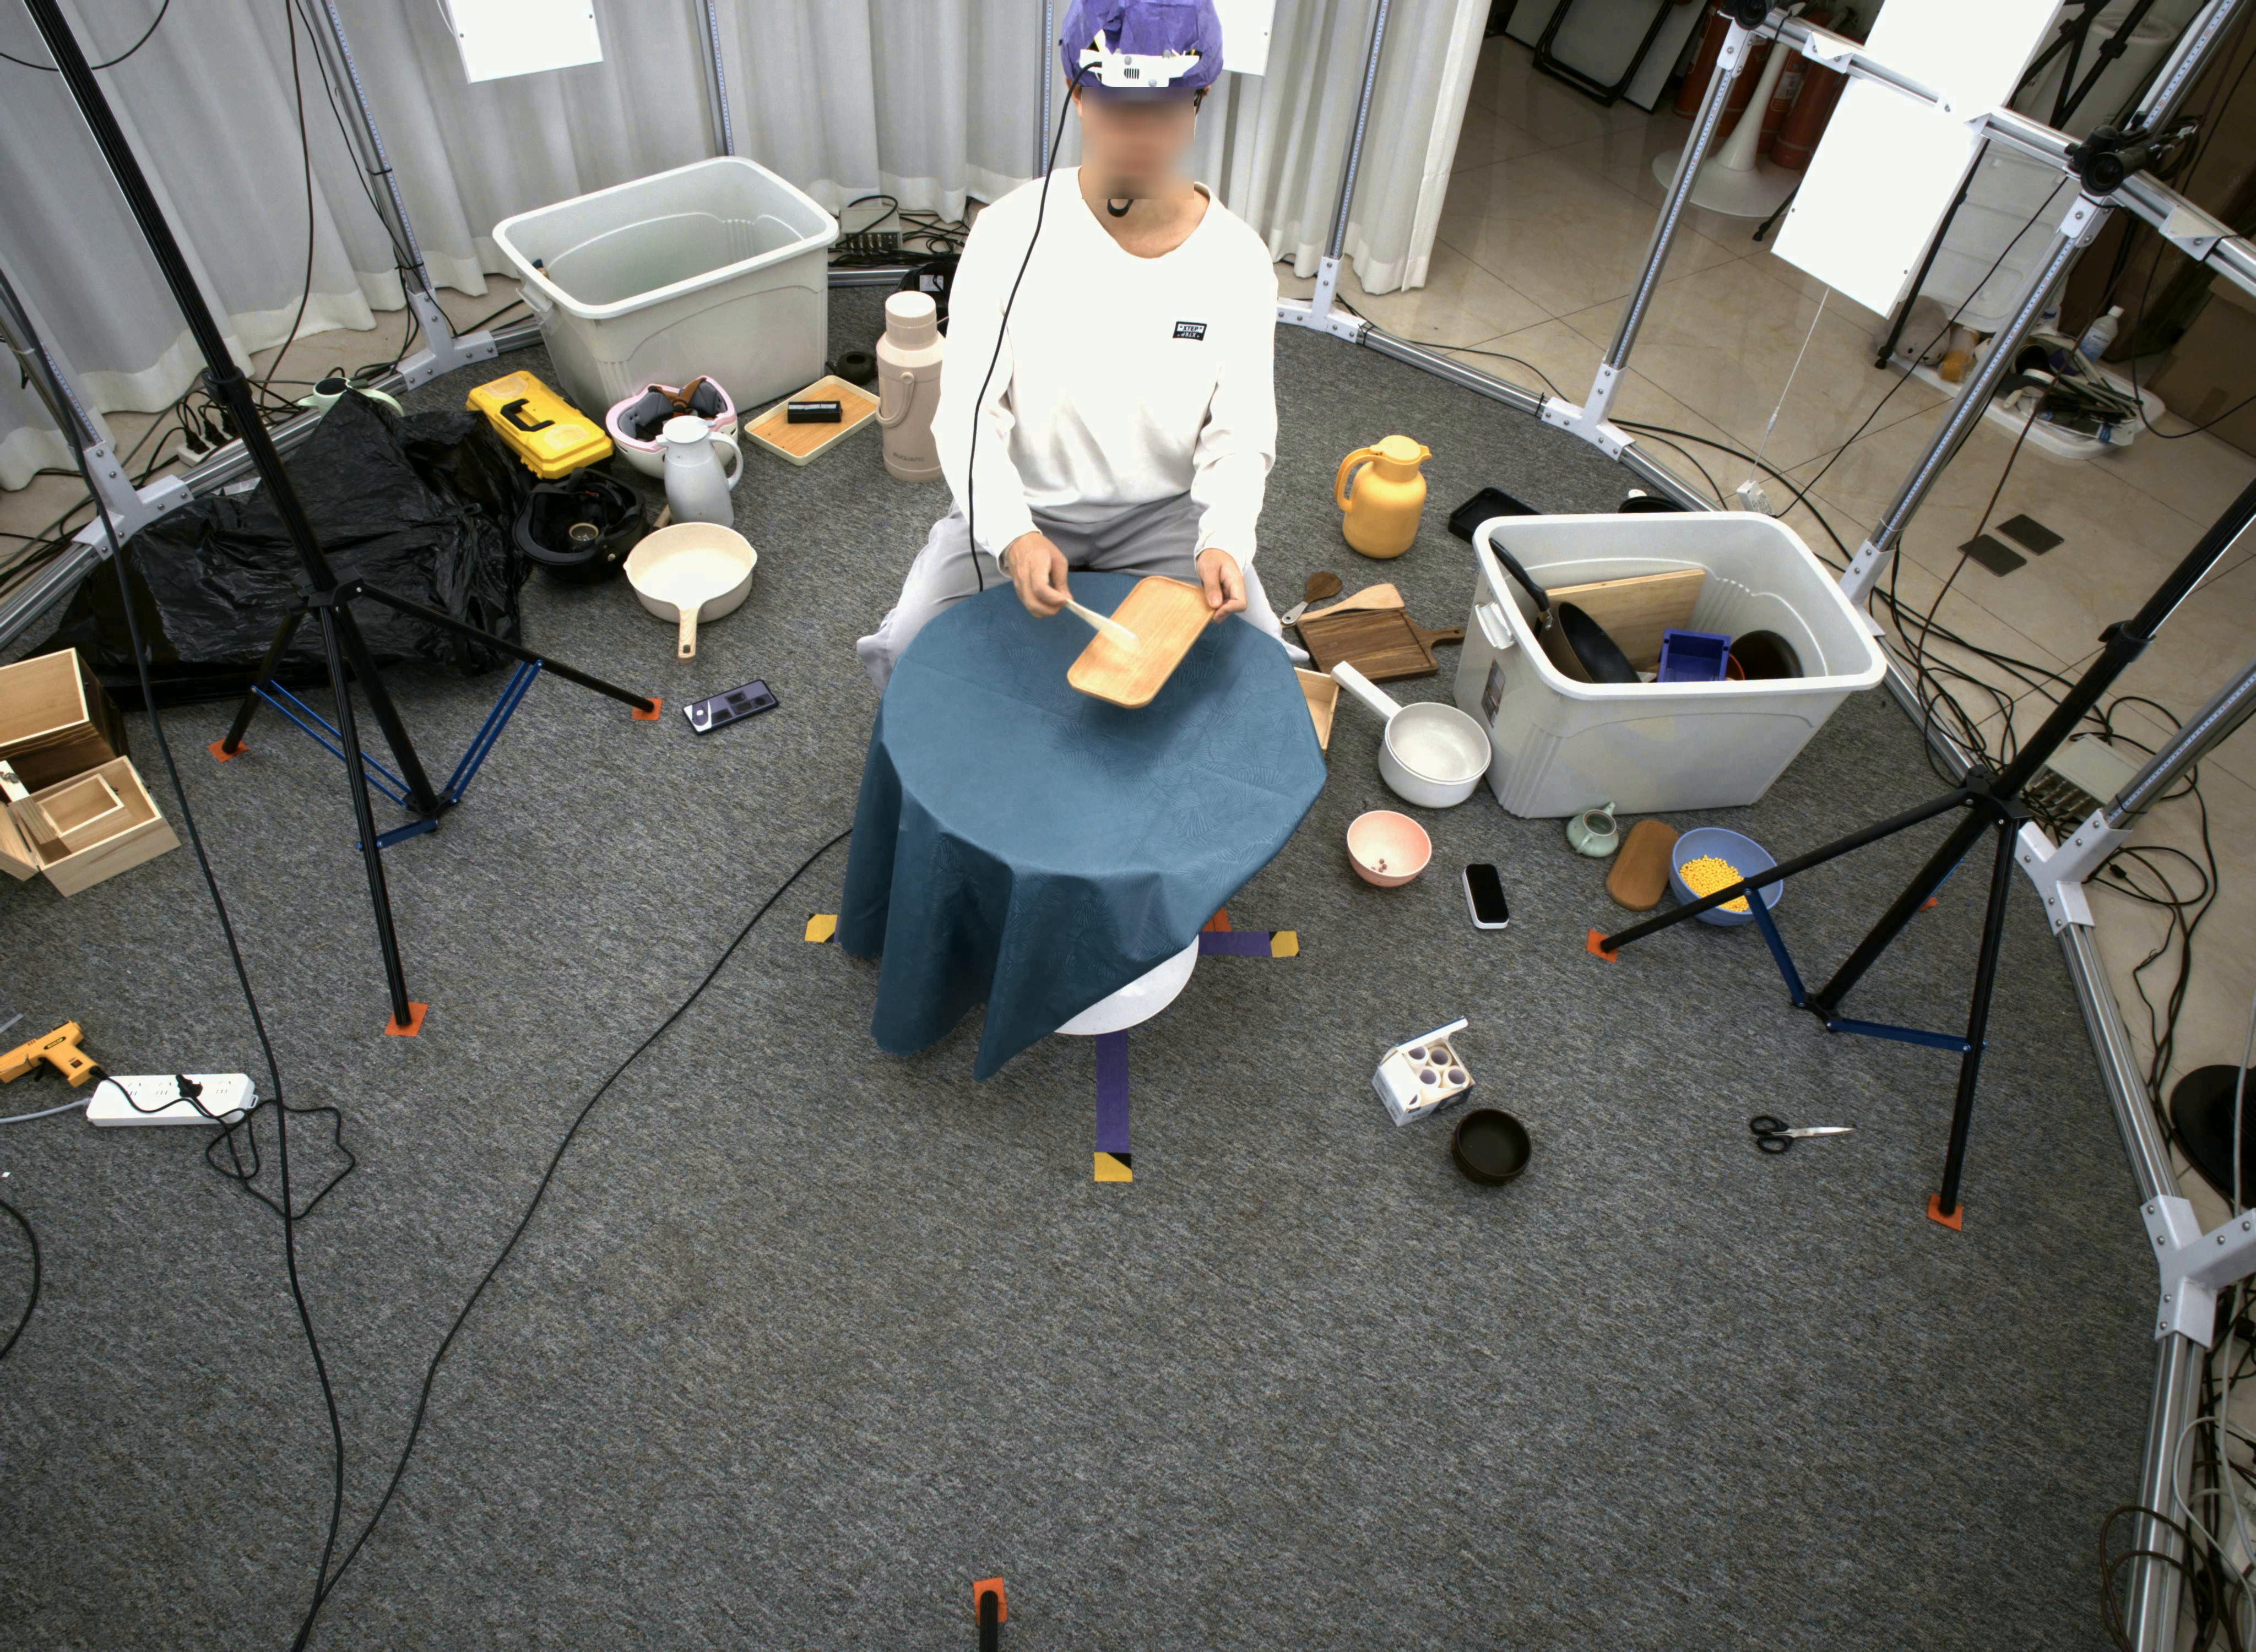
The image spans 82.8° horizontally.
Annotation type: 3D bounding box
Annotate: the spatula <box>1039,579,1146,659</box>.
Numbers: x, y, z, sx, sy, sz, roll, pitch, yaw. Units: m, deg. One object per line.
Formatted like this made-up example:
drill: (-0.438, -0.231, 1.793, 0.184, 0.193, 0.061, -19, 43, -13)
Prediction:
spatula: (-0.052, -0.289, 1.755, 0.005, 0.049, 0.211, -43, 57, -16)

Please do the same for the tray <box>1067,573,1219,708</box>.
tray: (0.023, -0.259, 1.779, 0.131, 0.022, 0.255, 22, 55, 19)
